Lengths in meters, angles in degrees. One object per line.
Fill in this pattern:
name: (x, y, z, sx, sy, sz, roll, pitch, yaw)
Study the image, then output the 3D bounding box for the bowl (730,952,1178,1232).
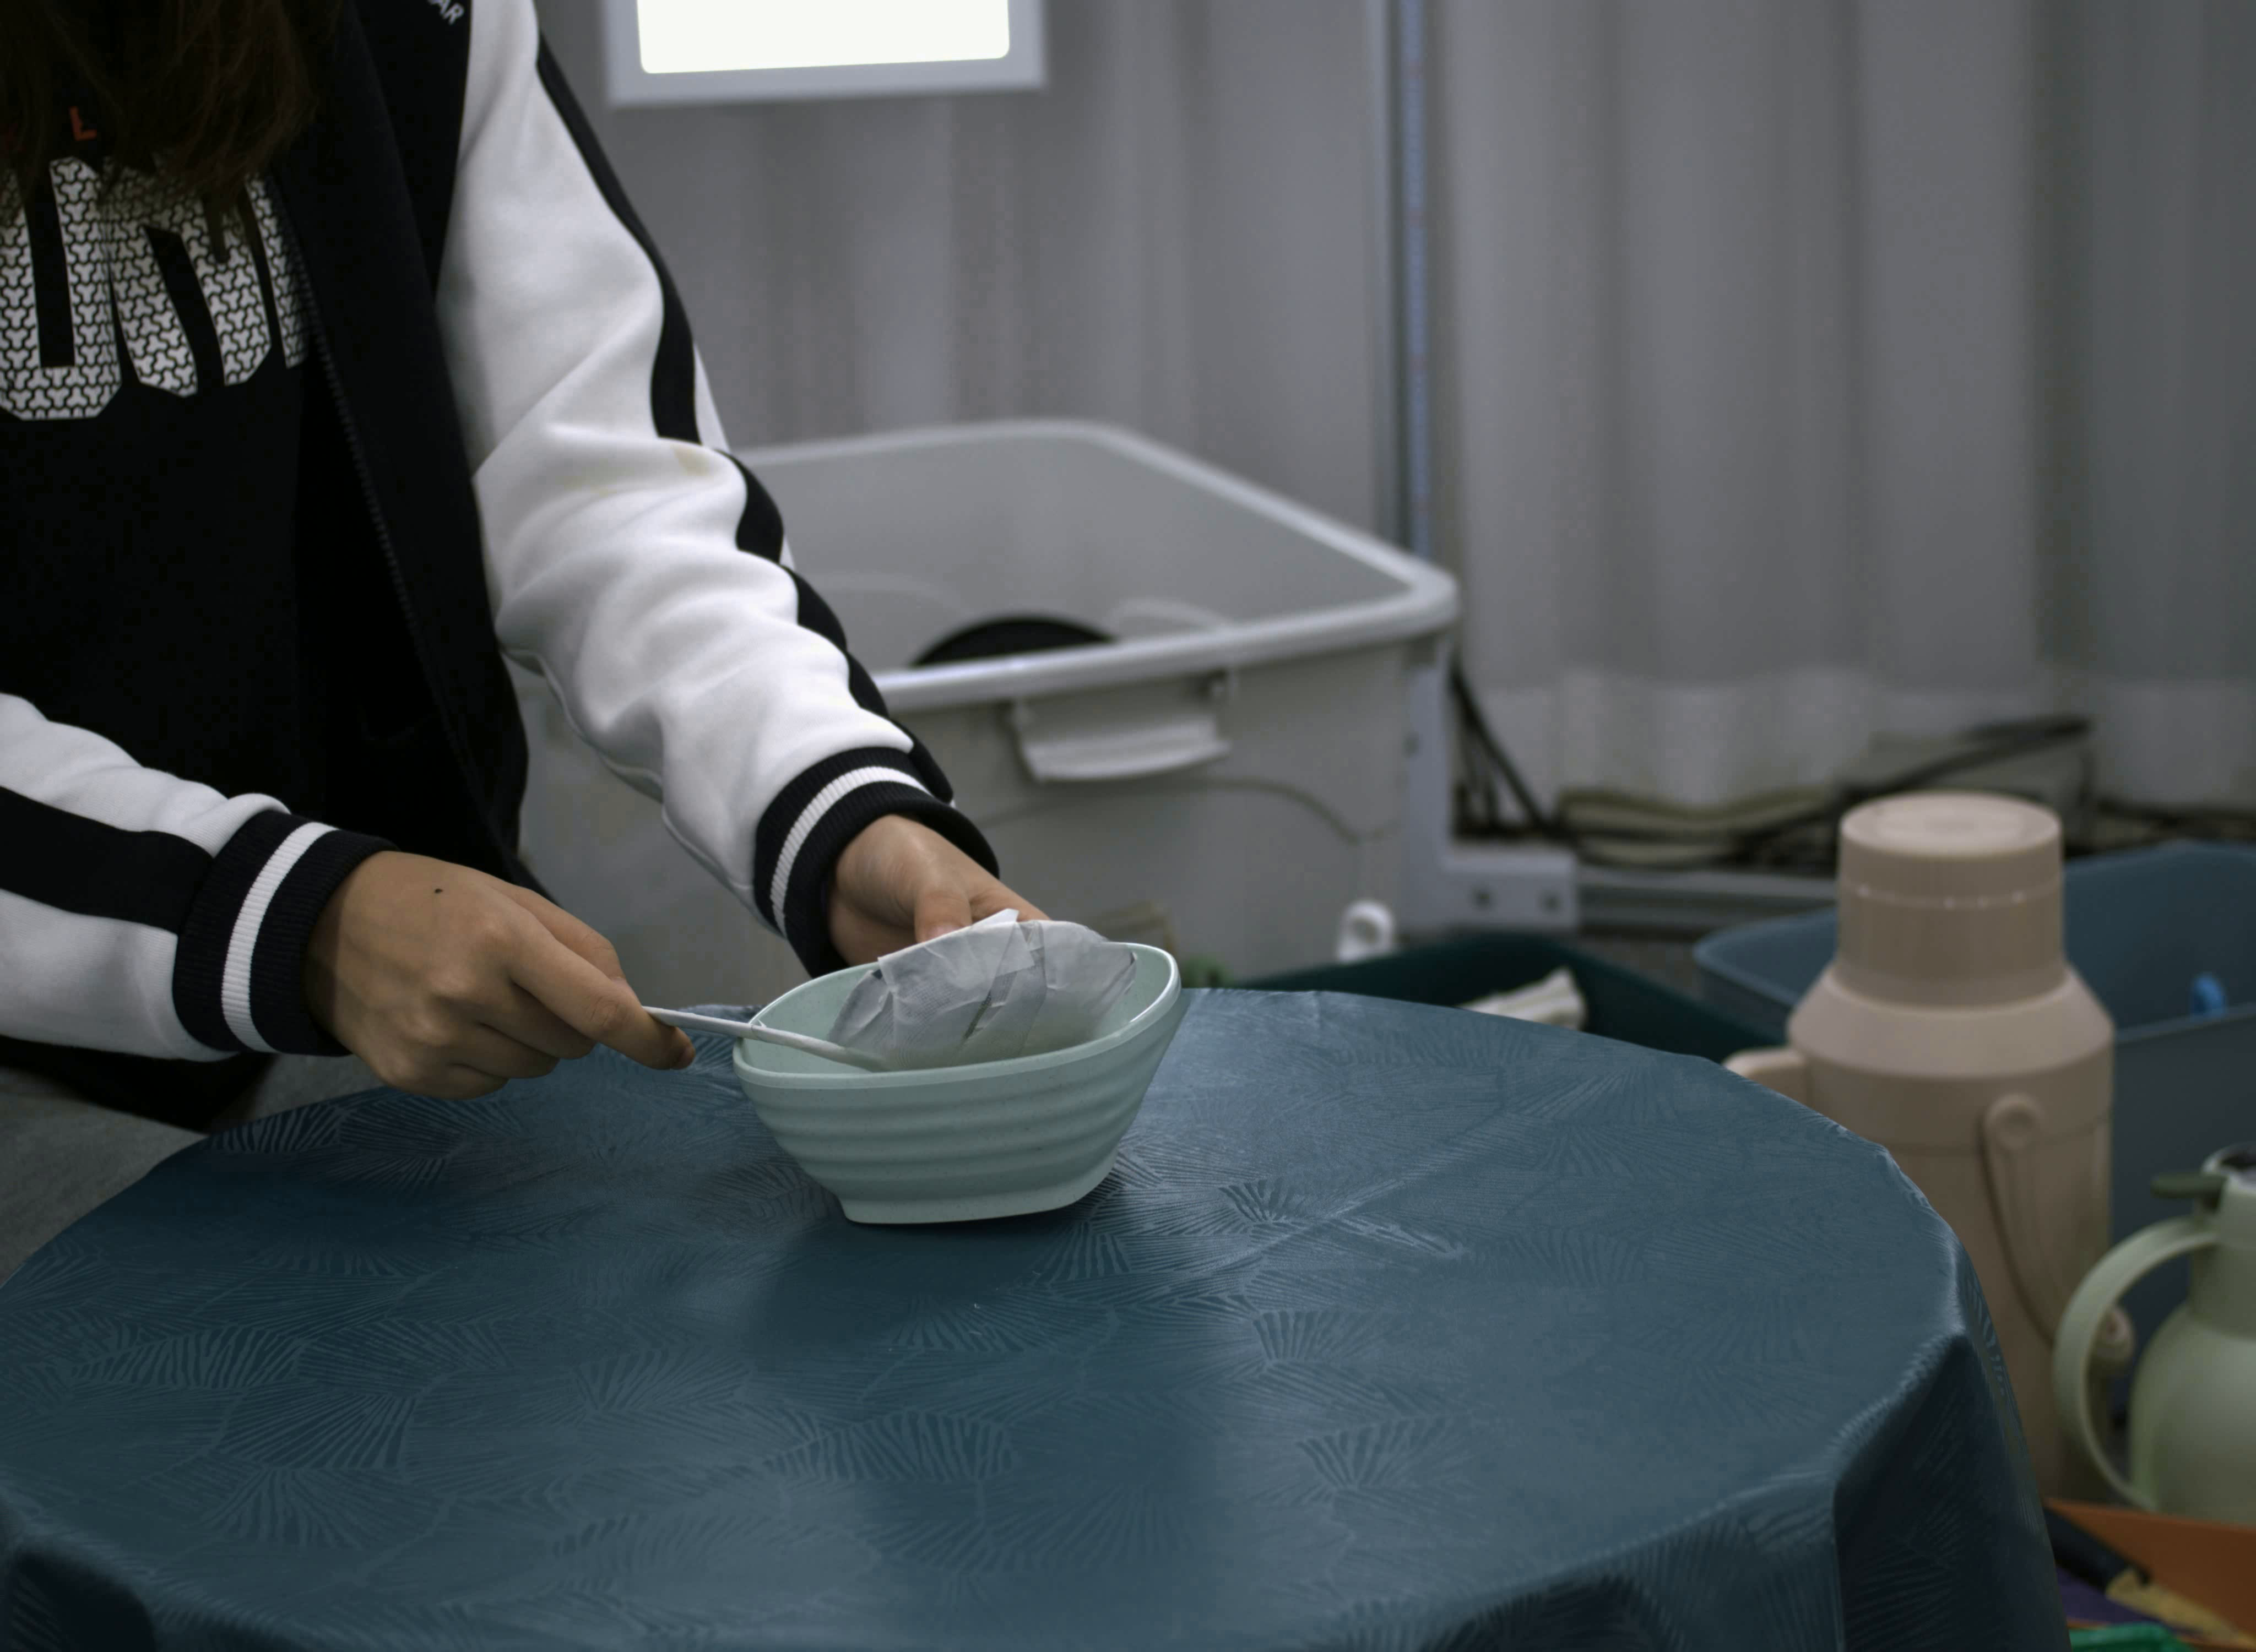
bowl: (-0.051, 0.086, 1.716, 0.151, 0.058, 0.152, -7, 13, 1)

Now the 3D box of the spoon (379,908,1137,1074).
spoon: (-0.121, 0.042, 1.723, 0.278, 0.060, 0.099, 9, -20, 36)
